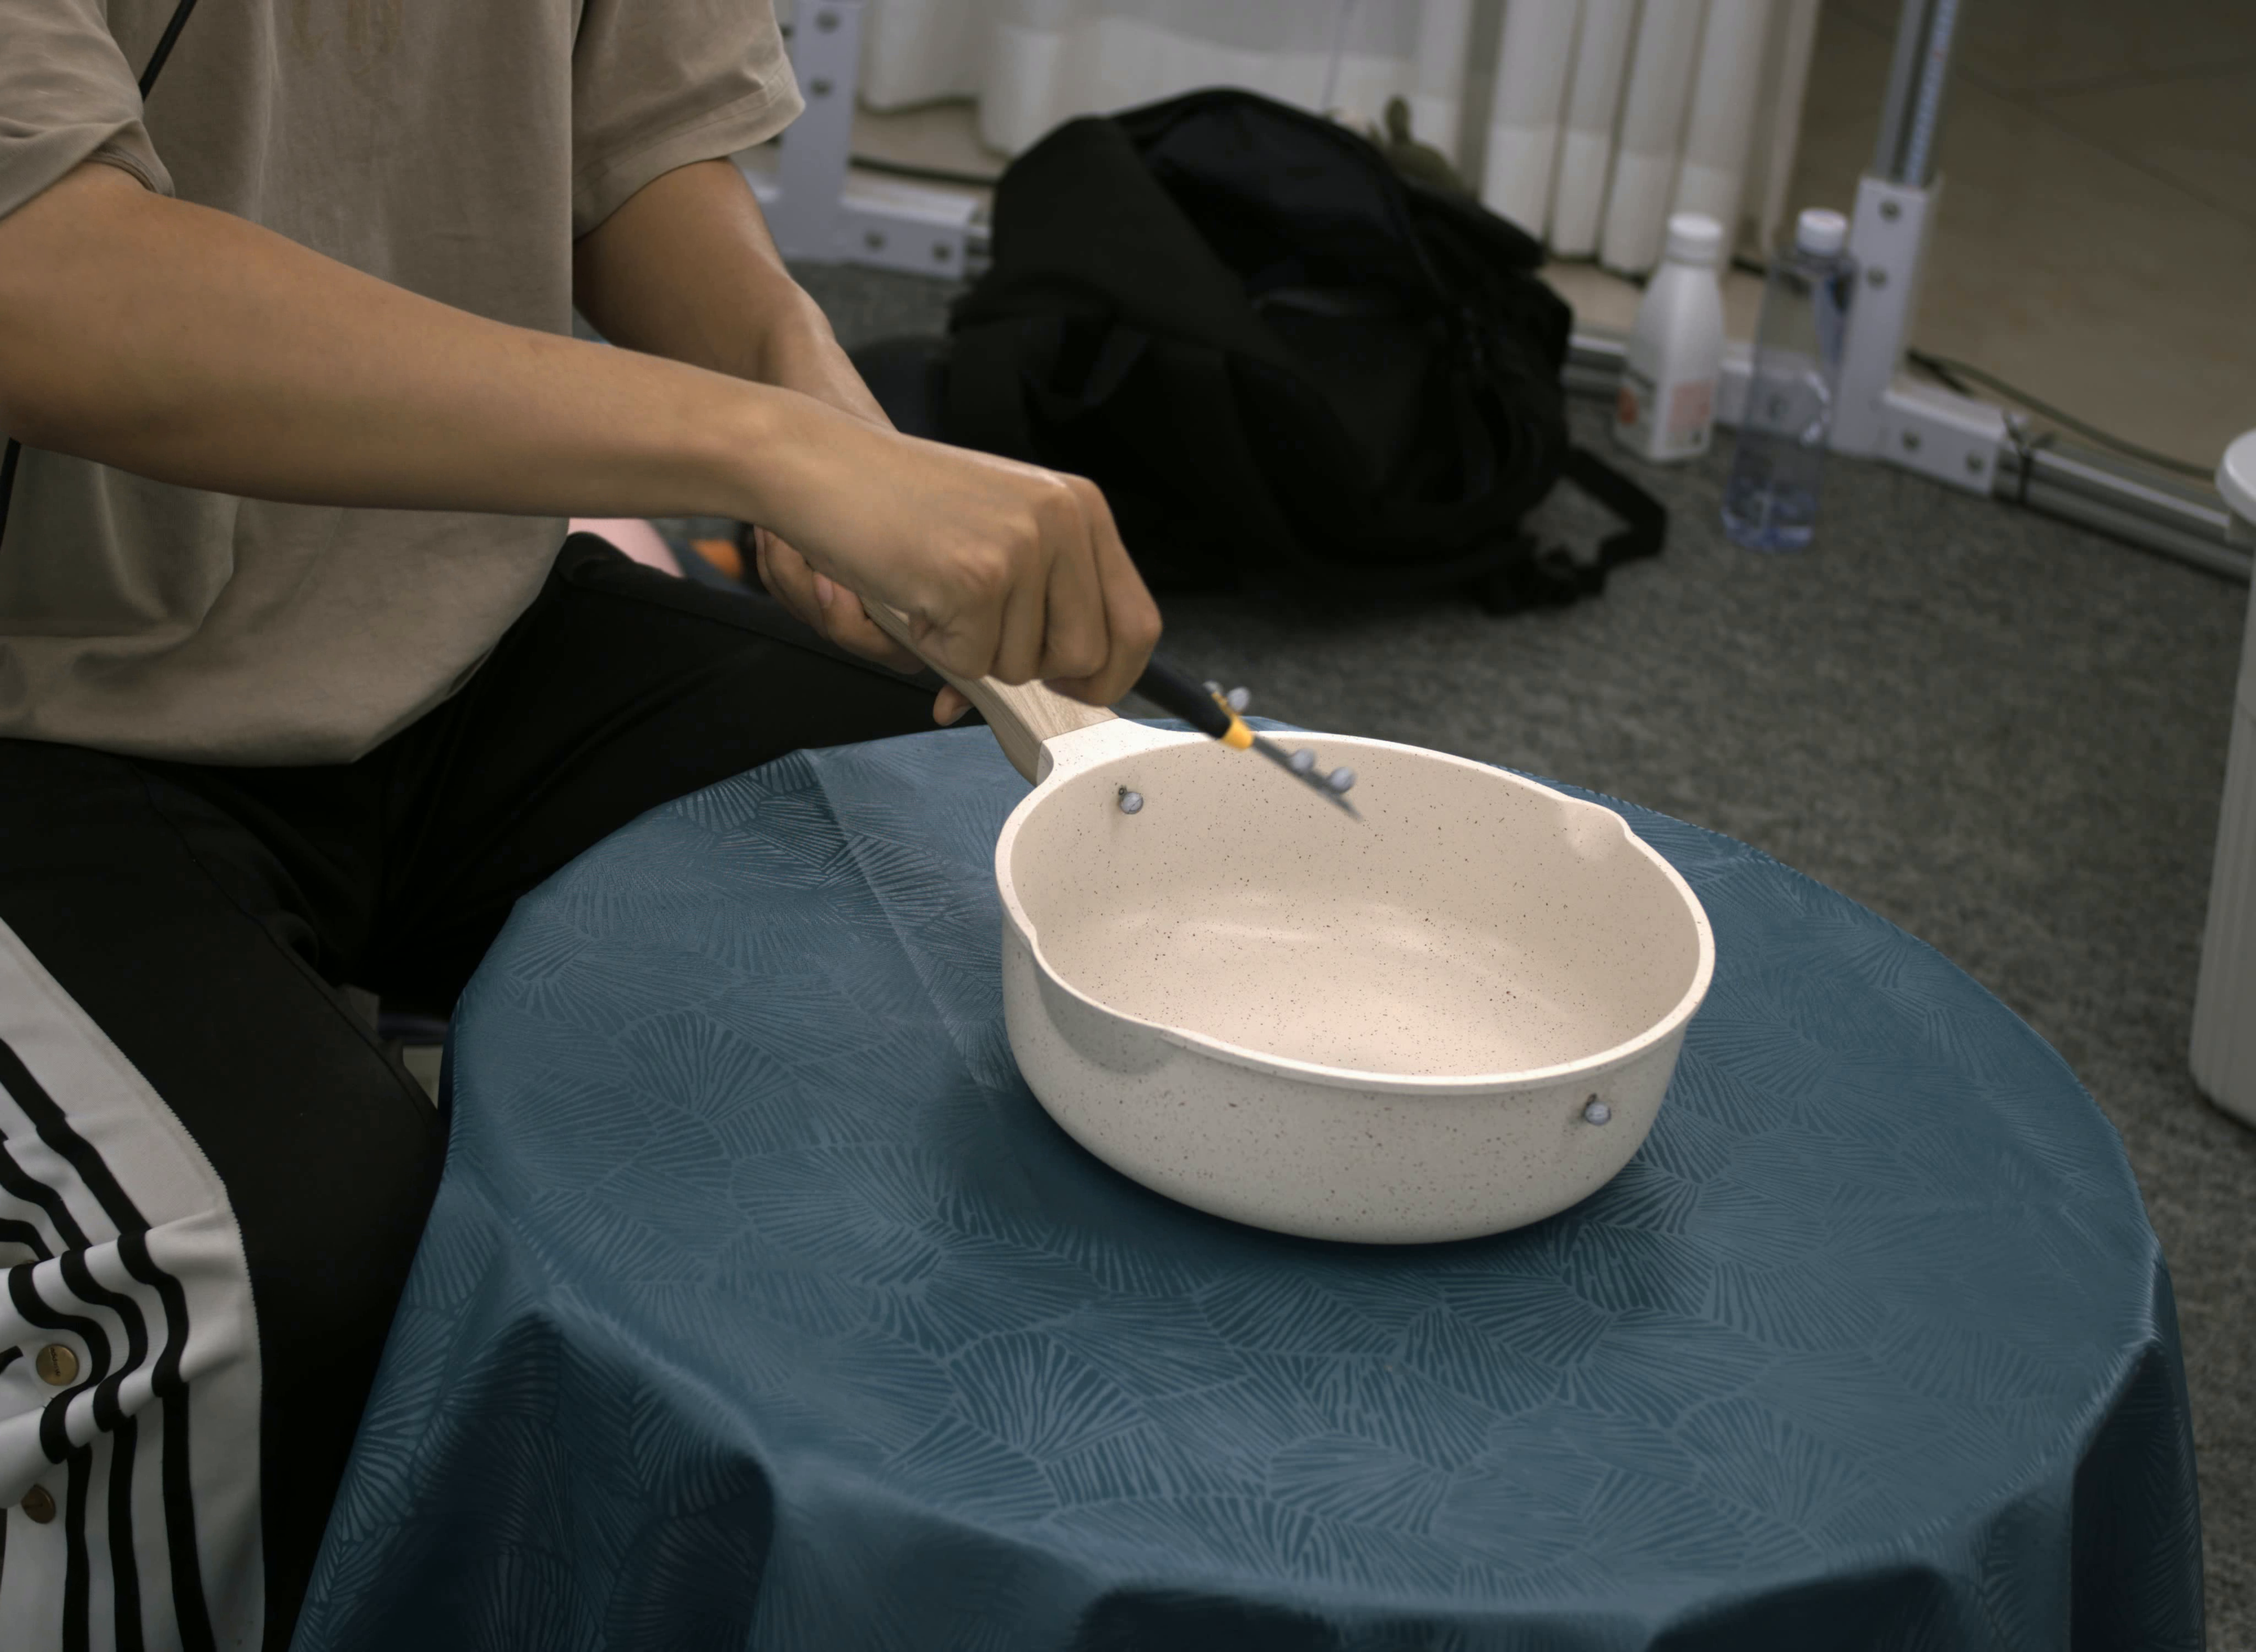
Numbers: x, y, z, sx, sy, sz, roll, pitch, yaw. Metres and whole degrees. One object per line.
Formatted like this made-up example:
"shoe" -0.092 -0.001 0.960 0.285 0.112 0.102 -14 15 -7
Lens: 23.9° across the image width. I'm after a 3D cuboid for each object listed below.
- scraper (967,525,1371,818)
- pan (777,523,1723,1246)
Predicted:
"scraper" 0.014 -0.051 1.751 0.169 0.015 0.039 32 18 -26
"pan" 0.017 0.016 1.916 0.262 0.101 0.438 -20 37 -38
